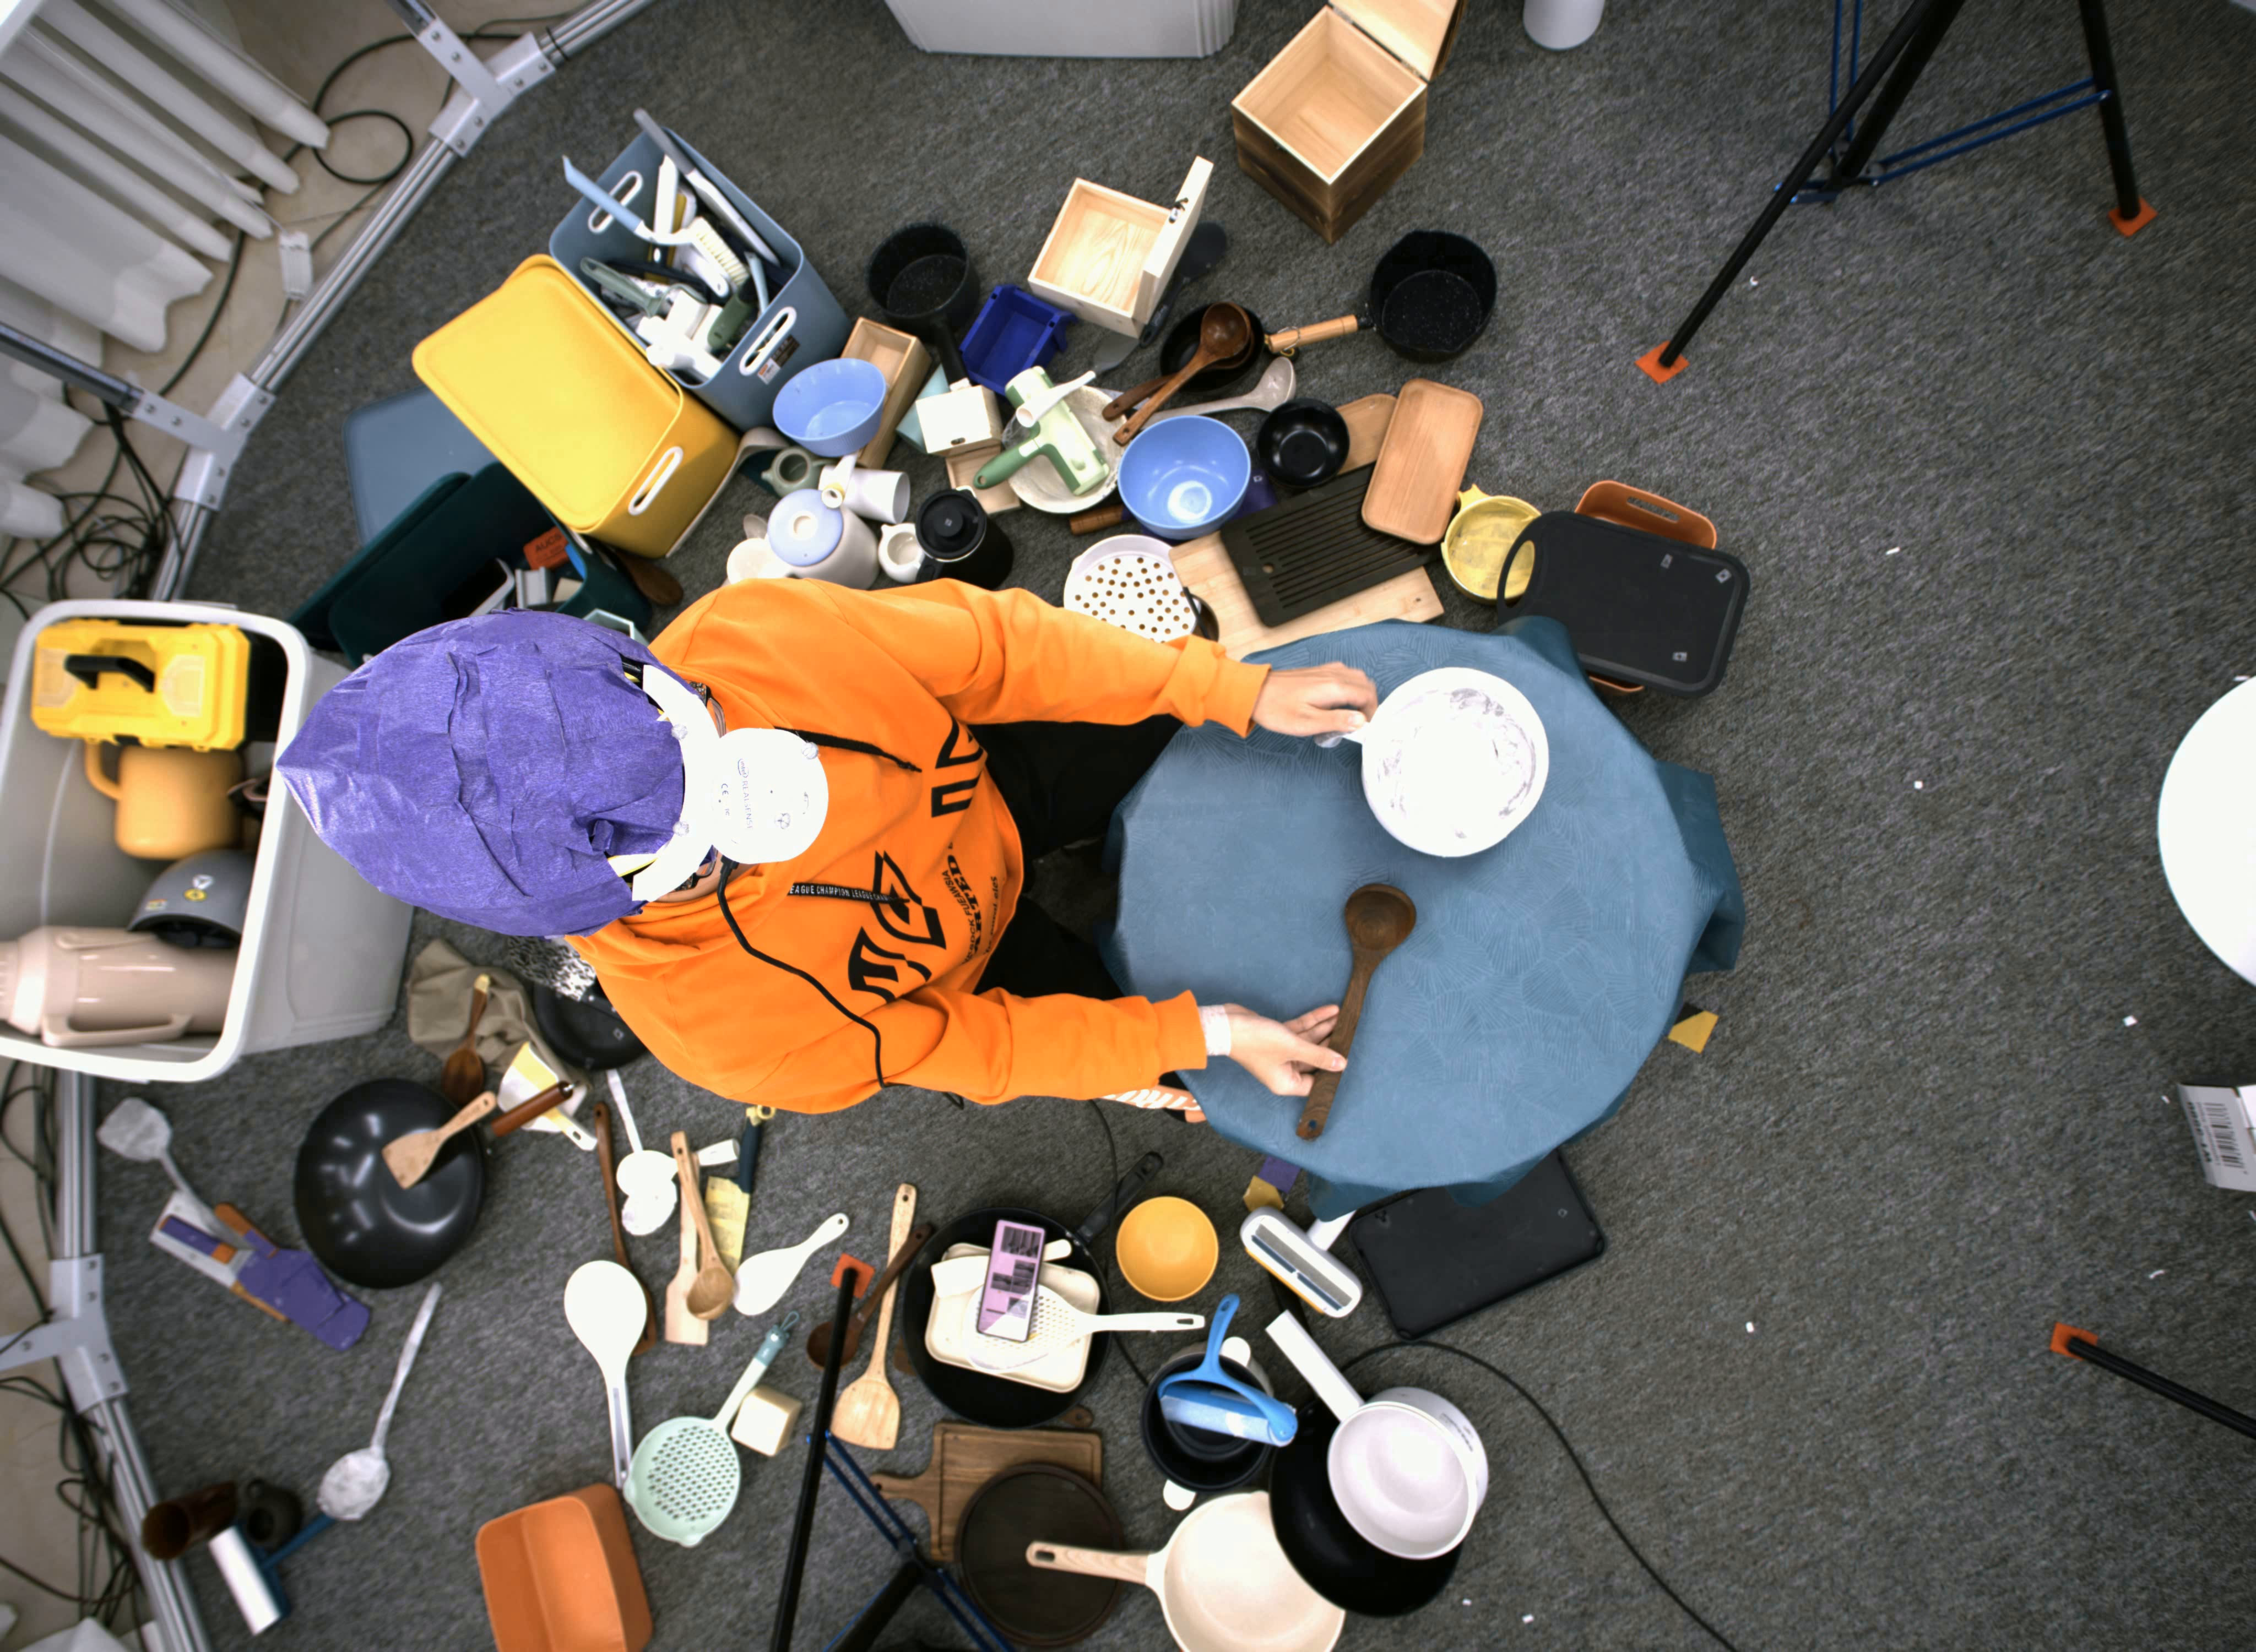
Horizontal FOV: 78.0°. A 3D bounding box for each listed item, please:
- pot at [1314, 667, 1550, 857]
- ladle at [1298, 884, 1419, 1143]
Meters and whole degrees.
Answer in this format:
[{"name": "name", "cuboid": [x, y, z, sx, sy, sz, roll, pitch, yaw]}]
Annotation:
[{"name": "pot", "cuboid": [0.300, -0.070, 1.392, 0.234, 0.137, 0.178, 18, 89, 11]}, {"name": "ladle", "cuboid": [0.228, 0.191, 1.419, 0.076, 0.072, 0.272, 19, 85, 12]}]
